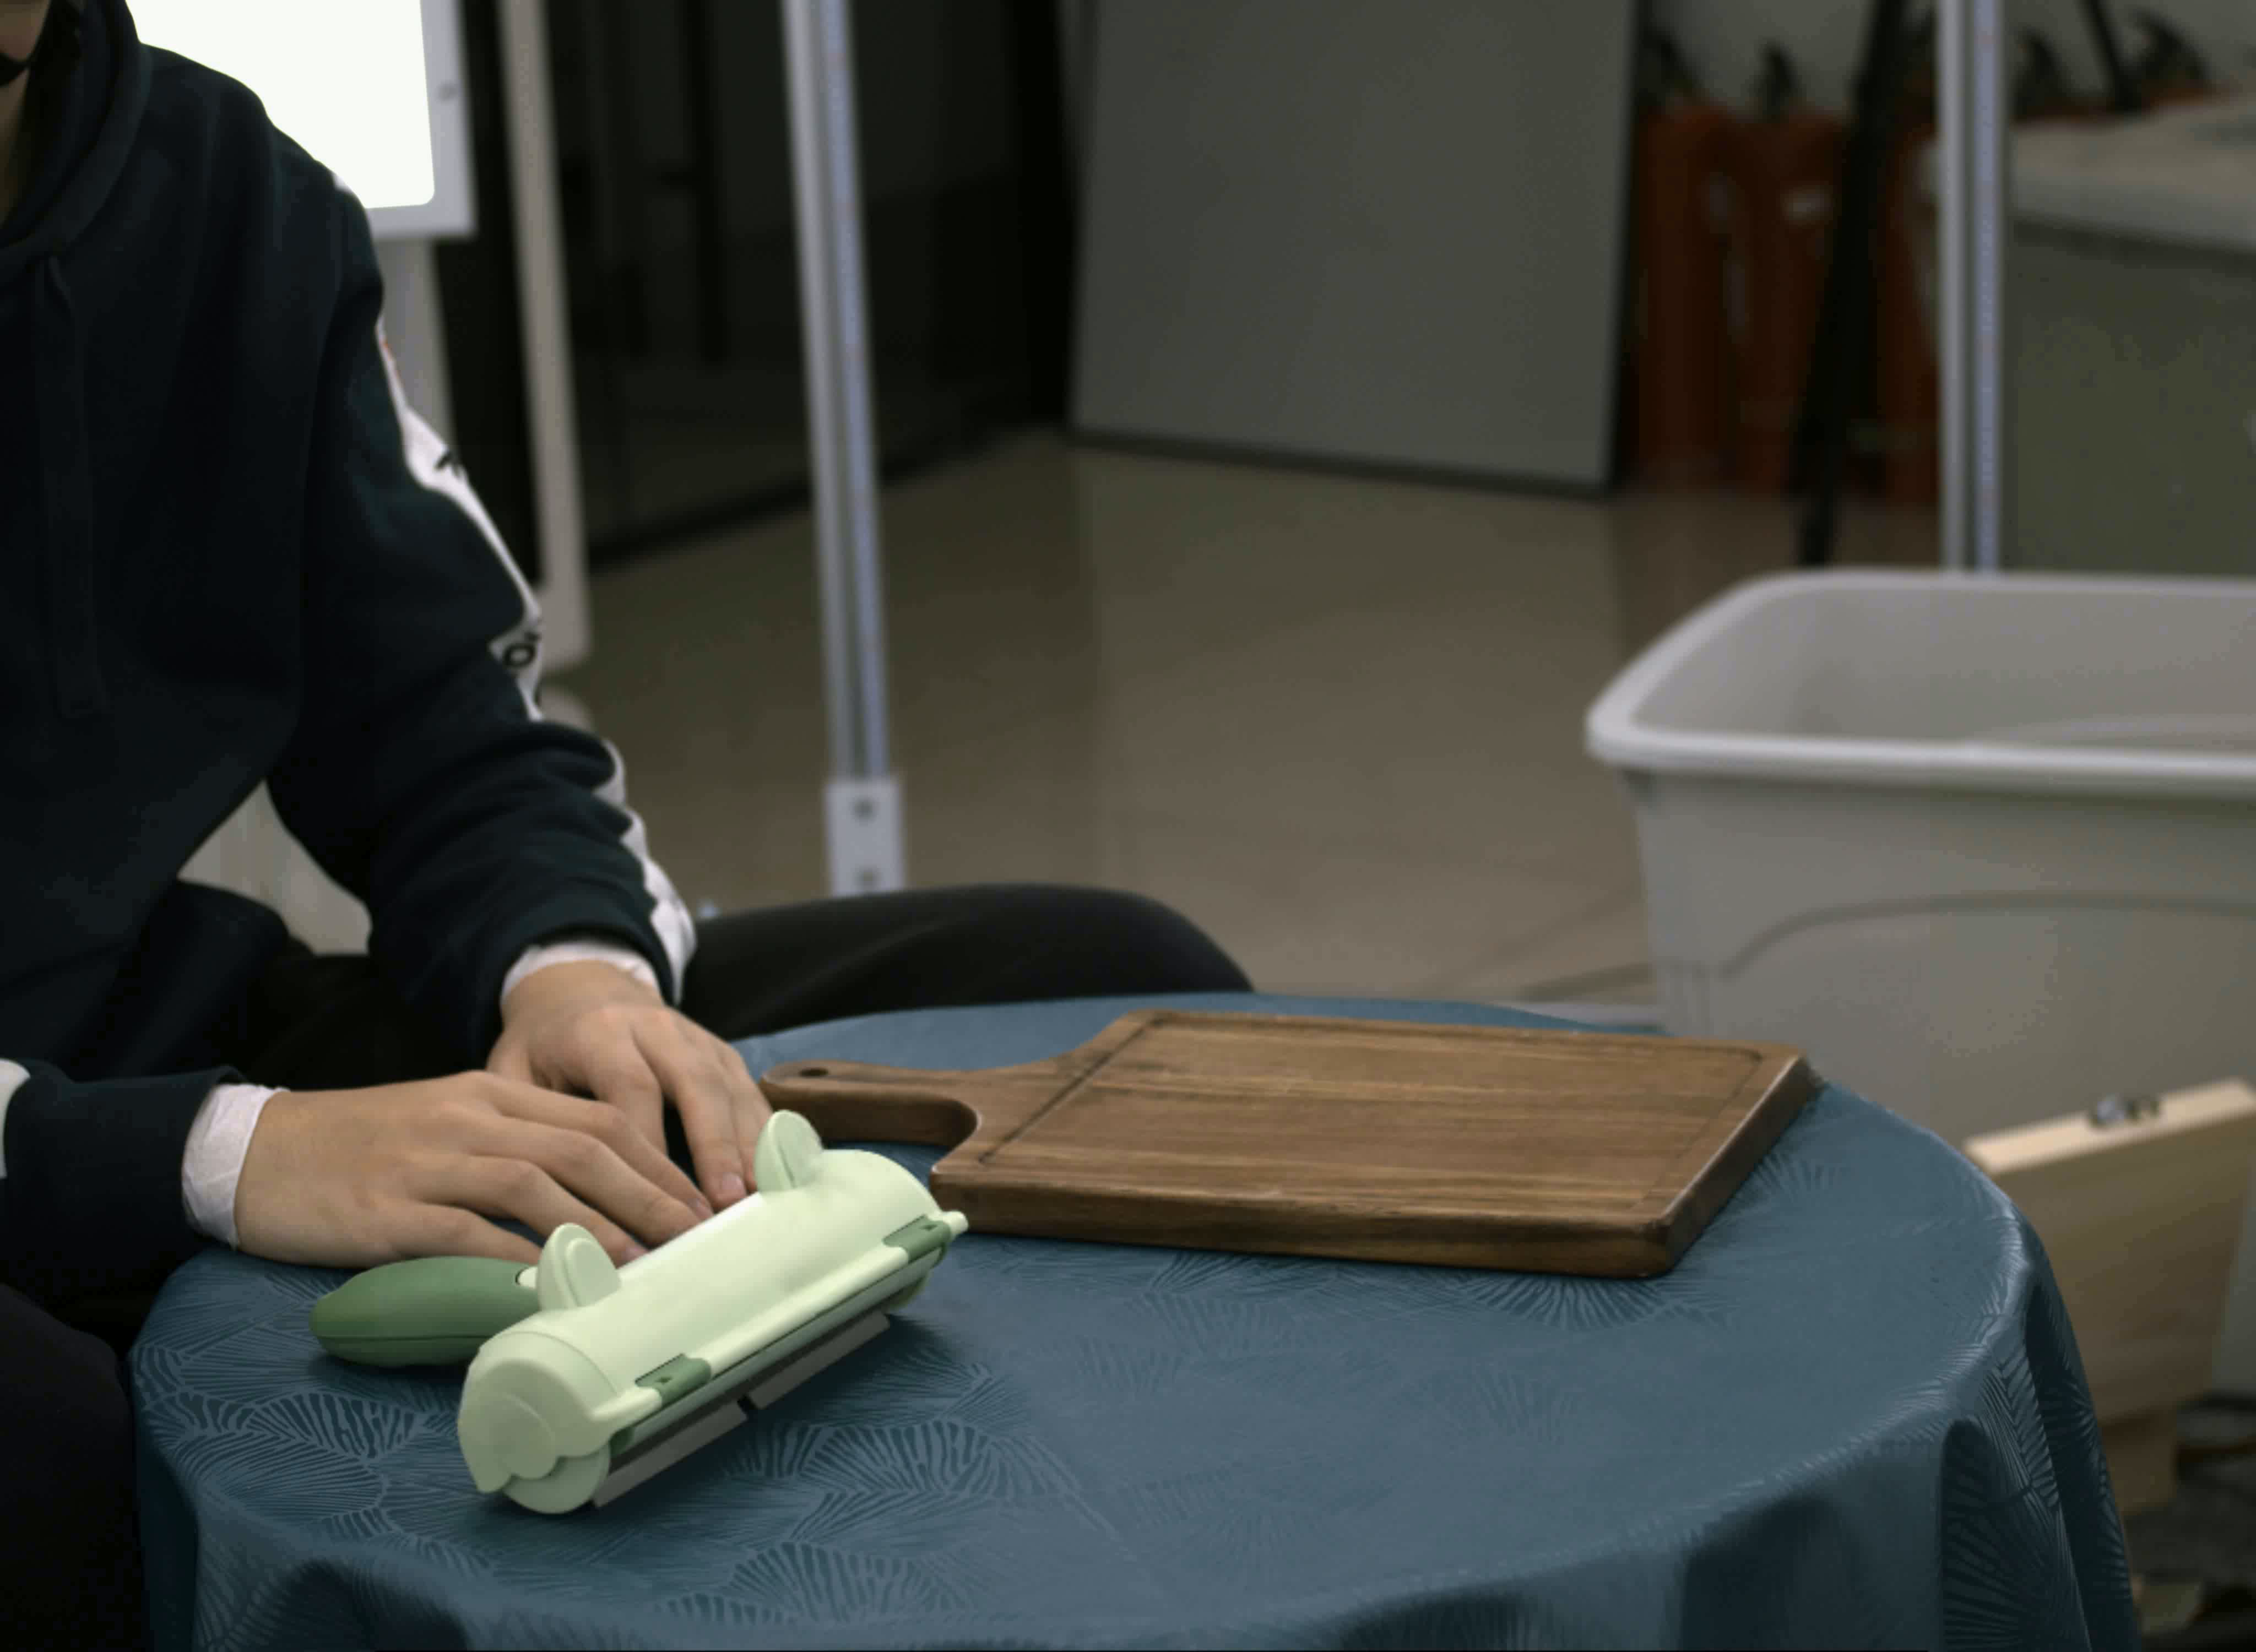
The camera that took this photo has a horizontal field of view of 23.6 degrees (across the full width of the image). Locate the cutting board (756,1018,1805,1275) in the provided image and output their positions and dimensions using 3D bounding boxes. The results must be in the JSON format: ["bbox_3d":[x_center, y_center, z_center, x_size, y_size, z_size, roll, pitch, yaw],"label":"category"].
[{"bbox_3d":[0.038,0.102,1.798,0.352,0.023,0.199,1,15,22],"label":"cutting board"}]

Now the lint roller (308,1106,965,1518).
[{"bbox_3d":[-0.171,0.132,1.615,0.184,0.083,0.195,9,18,29],"label":"lint roller"}]
